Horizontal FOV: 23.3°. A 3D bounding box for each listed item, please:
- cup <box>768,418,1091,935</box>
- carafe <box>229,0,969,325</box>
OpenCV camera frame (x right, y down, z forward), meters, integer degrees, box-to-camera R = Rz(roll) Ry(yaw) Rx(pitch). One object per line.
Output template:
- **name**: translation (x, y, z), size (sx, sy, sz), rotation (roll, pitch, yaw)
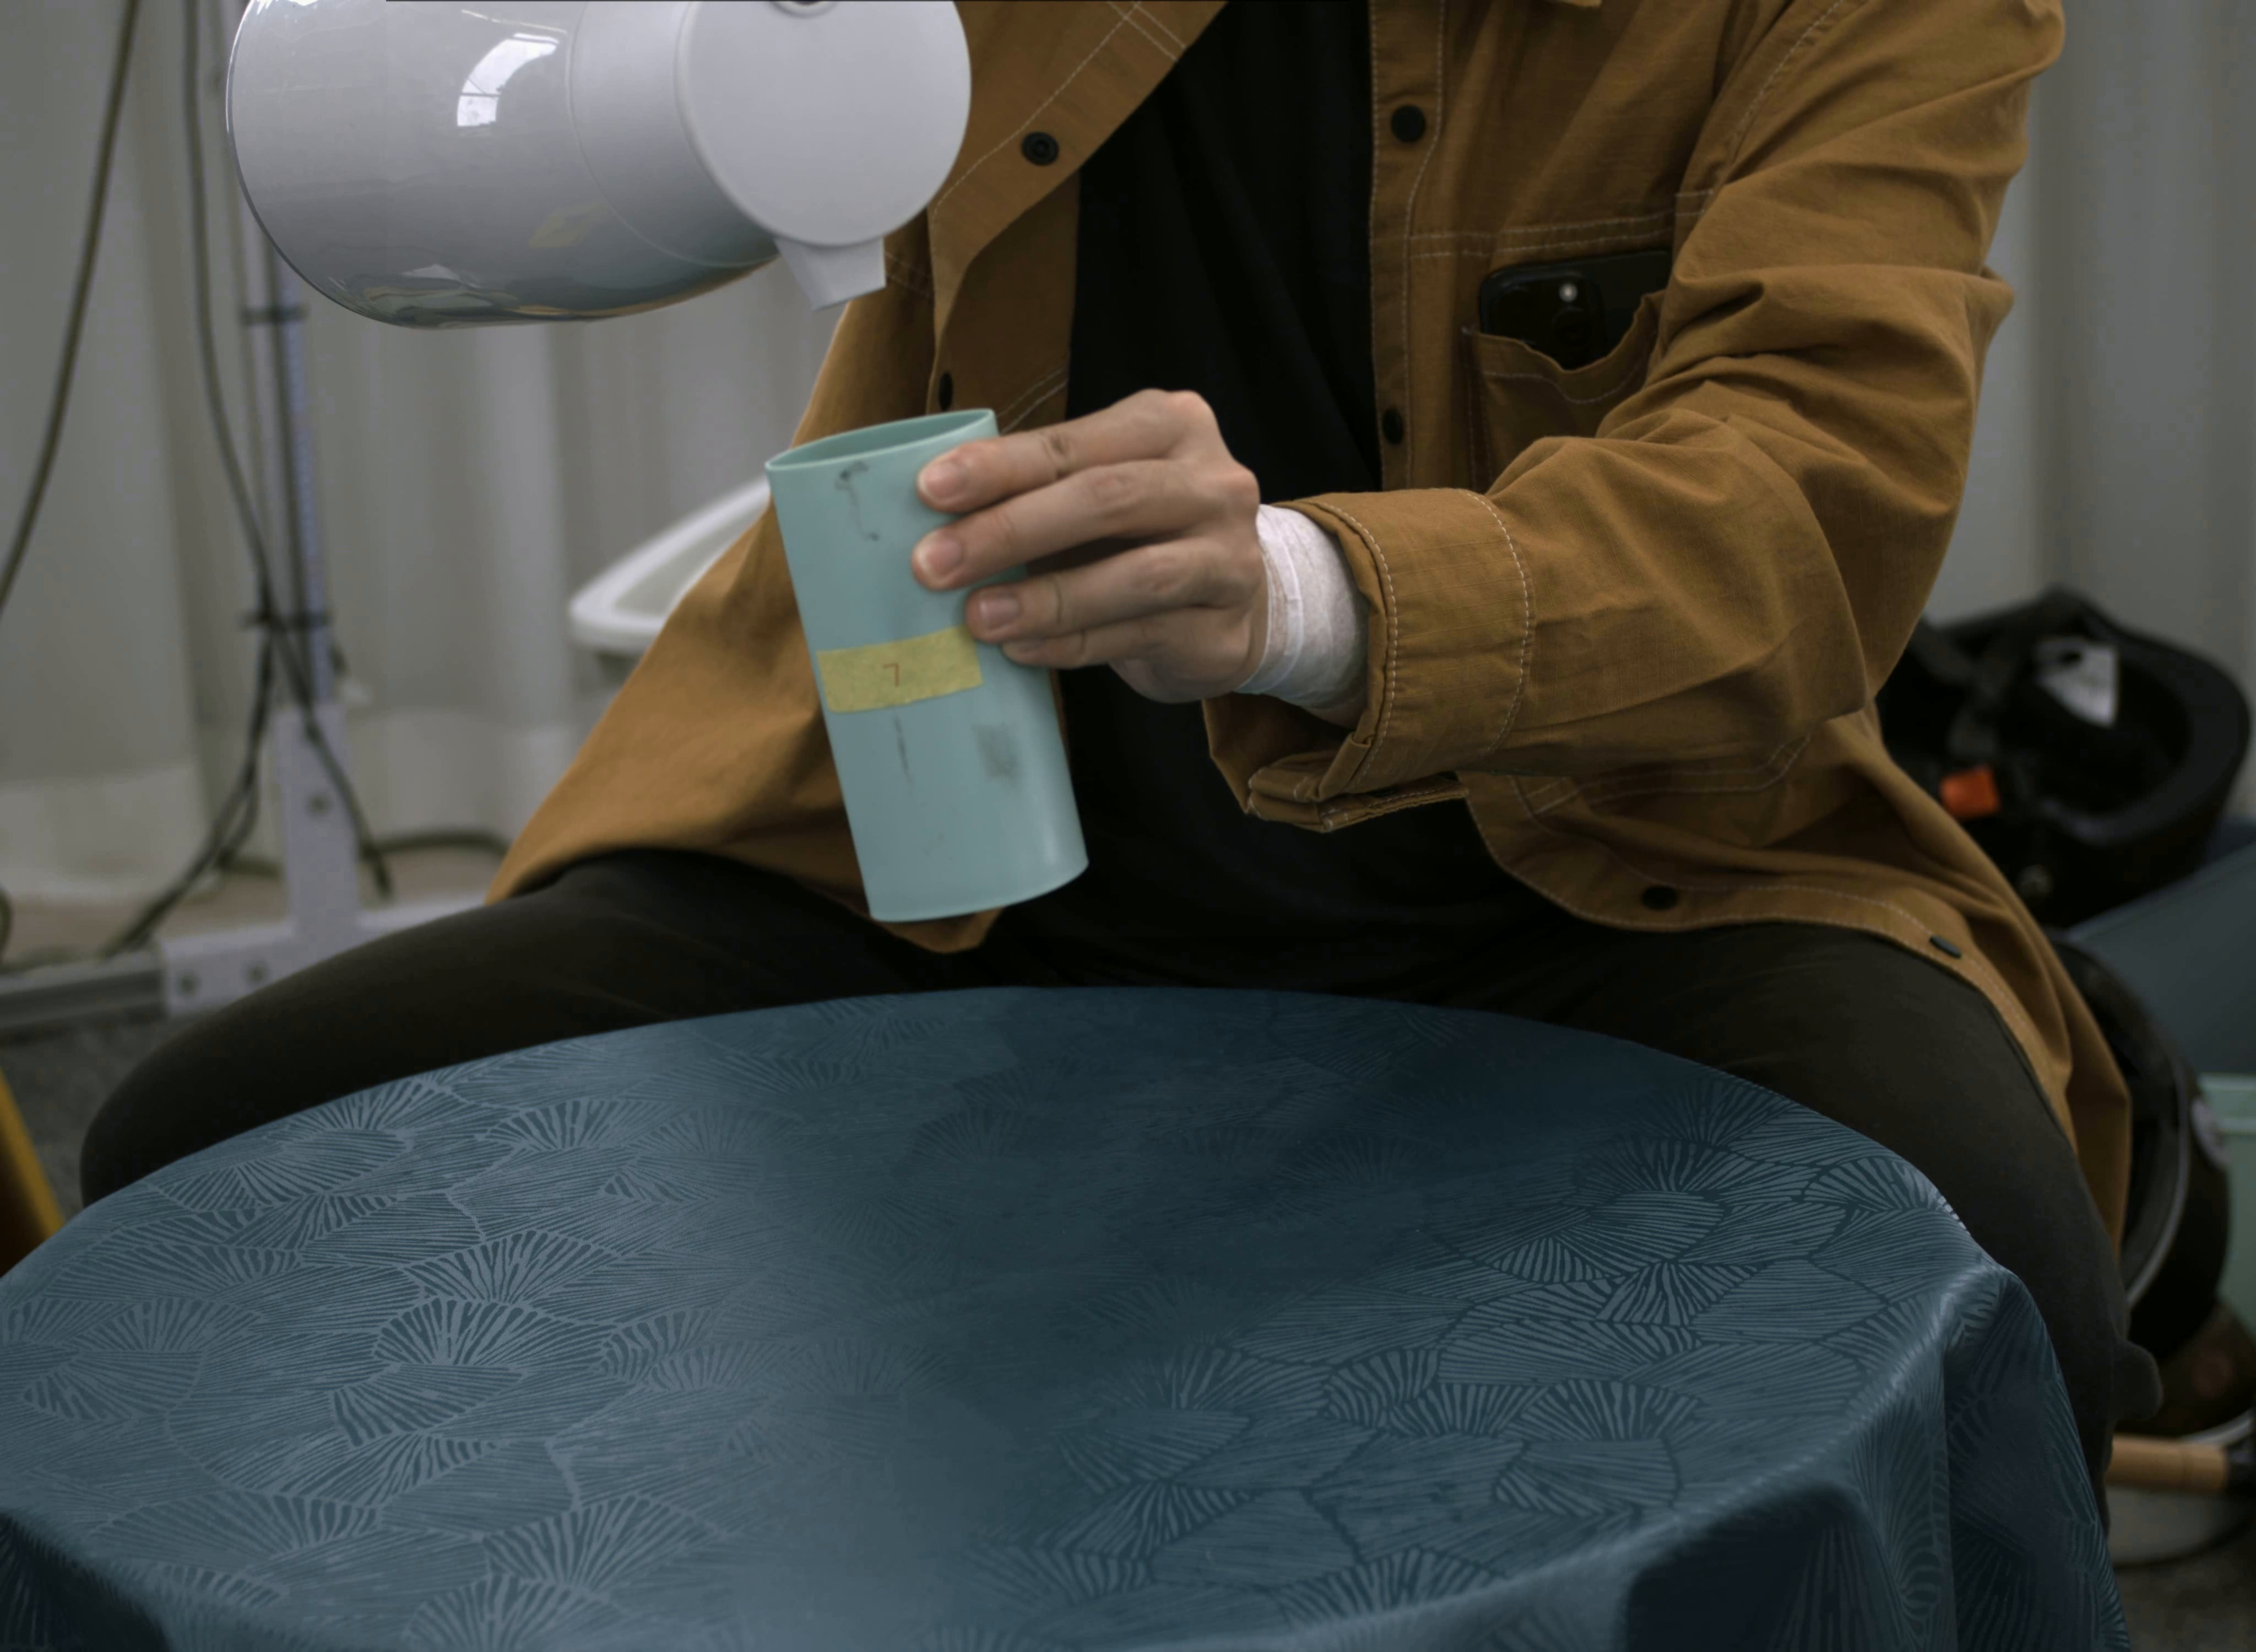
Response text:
- **cup**: translation (-0.054, -0.042, 1.519), size (0.066, 0.132, 0.067), rotation (-12, 10, 2)
- **carafe**: translation (-0.152, -0.228, 1.573), size (0.132, 0.167, 0.249), rotation (-23, 16, -30)
